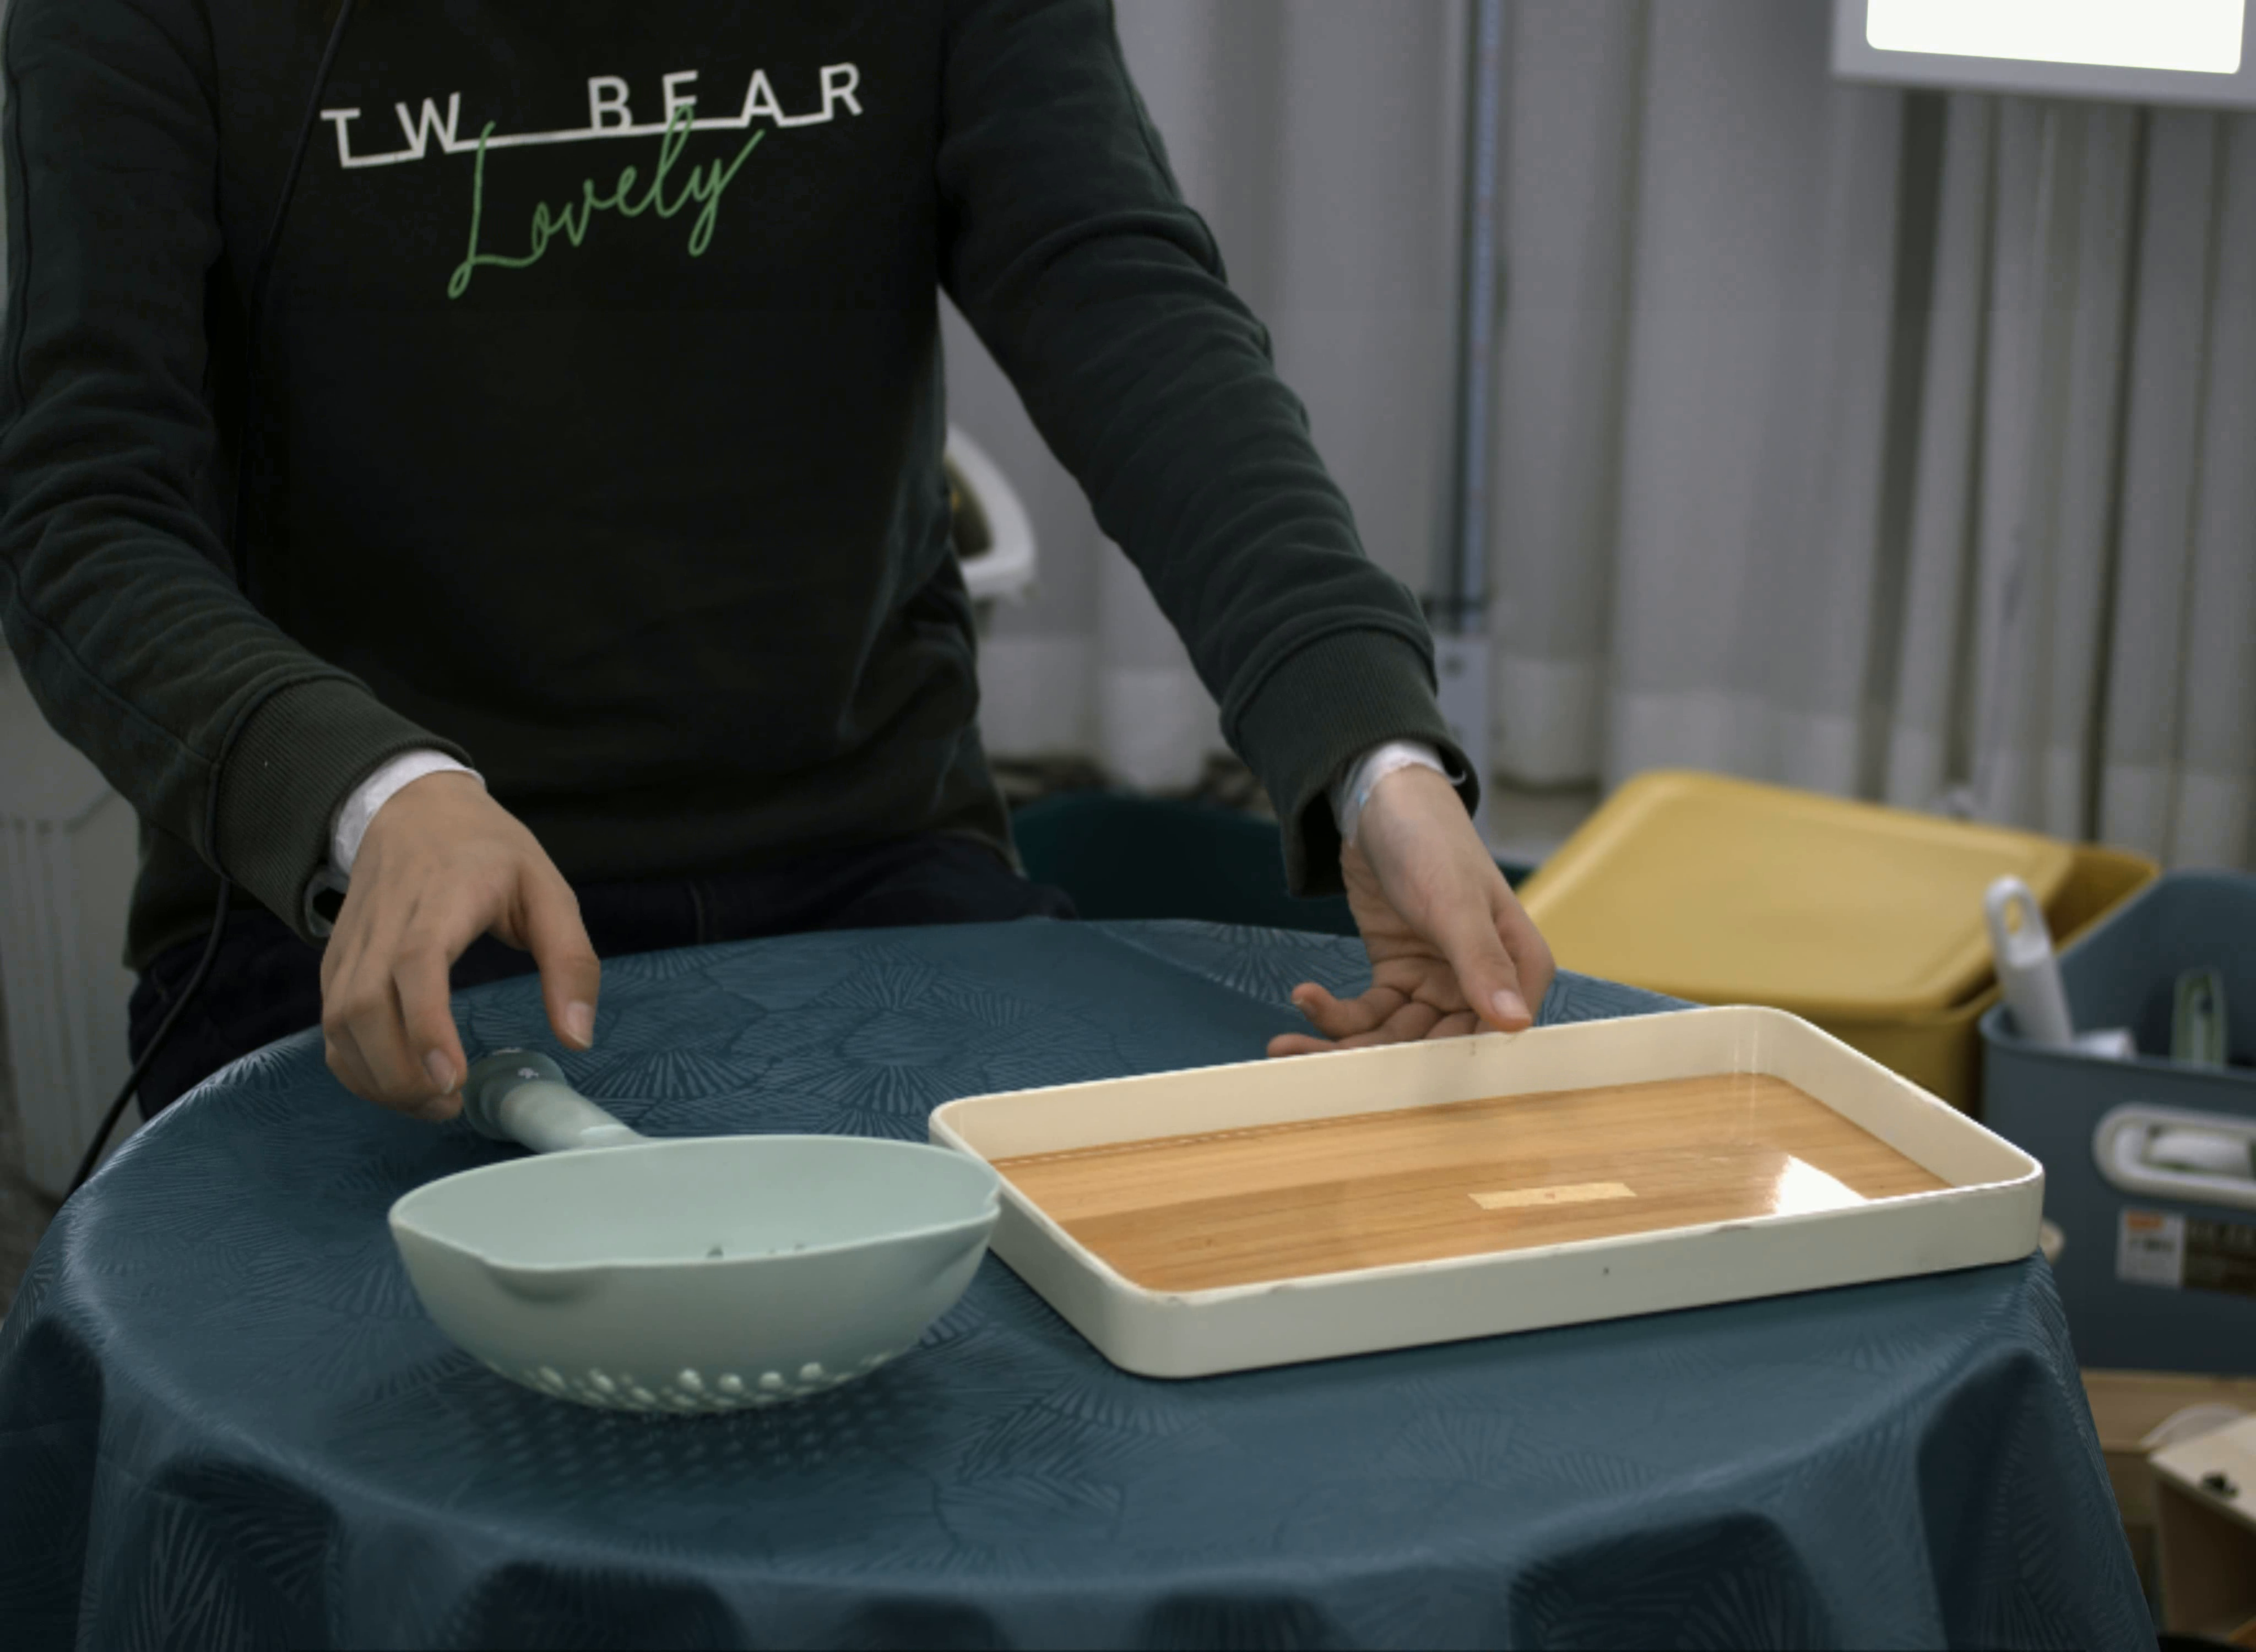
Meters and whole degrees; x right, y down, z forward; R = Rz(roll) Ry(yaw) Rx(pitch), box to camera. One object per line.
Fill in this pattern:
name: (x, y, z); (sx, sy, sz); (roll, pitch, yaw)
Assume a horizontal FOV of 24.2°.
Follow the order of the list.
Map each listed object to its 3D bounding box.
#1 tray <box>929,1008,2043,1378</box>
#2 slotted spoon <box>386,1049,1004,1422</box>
tray: (0.106, 0.108, 1.601); (0.301, 0.027, 0.189); (-5, 17, -21)
slotted spoon: (-0.149, 0.103, 1.537); (0.170, 0.076, 0.355); (-4, 17, -18)
